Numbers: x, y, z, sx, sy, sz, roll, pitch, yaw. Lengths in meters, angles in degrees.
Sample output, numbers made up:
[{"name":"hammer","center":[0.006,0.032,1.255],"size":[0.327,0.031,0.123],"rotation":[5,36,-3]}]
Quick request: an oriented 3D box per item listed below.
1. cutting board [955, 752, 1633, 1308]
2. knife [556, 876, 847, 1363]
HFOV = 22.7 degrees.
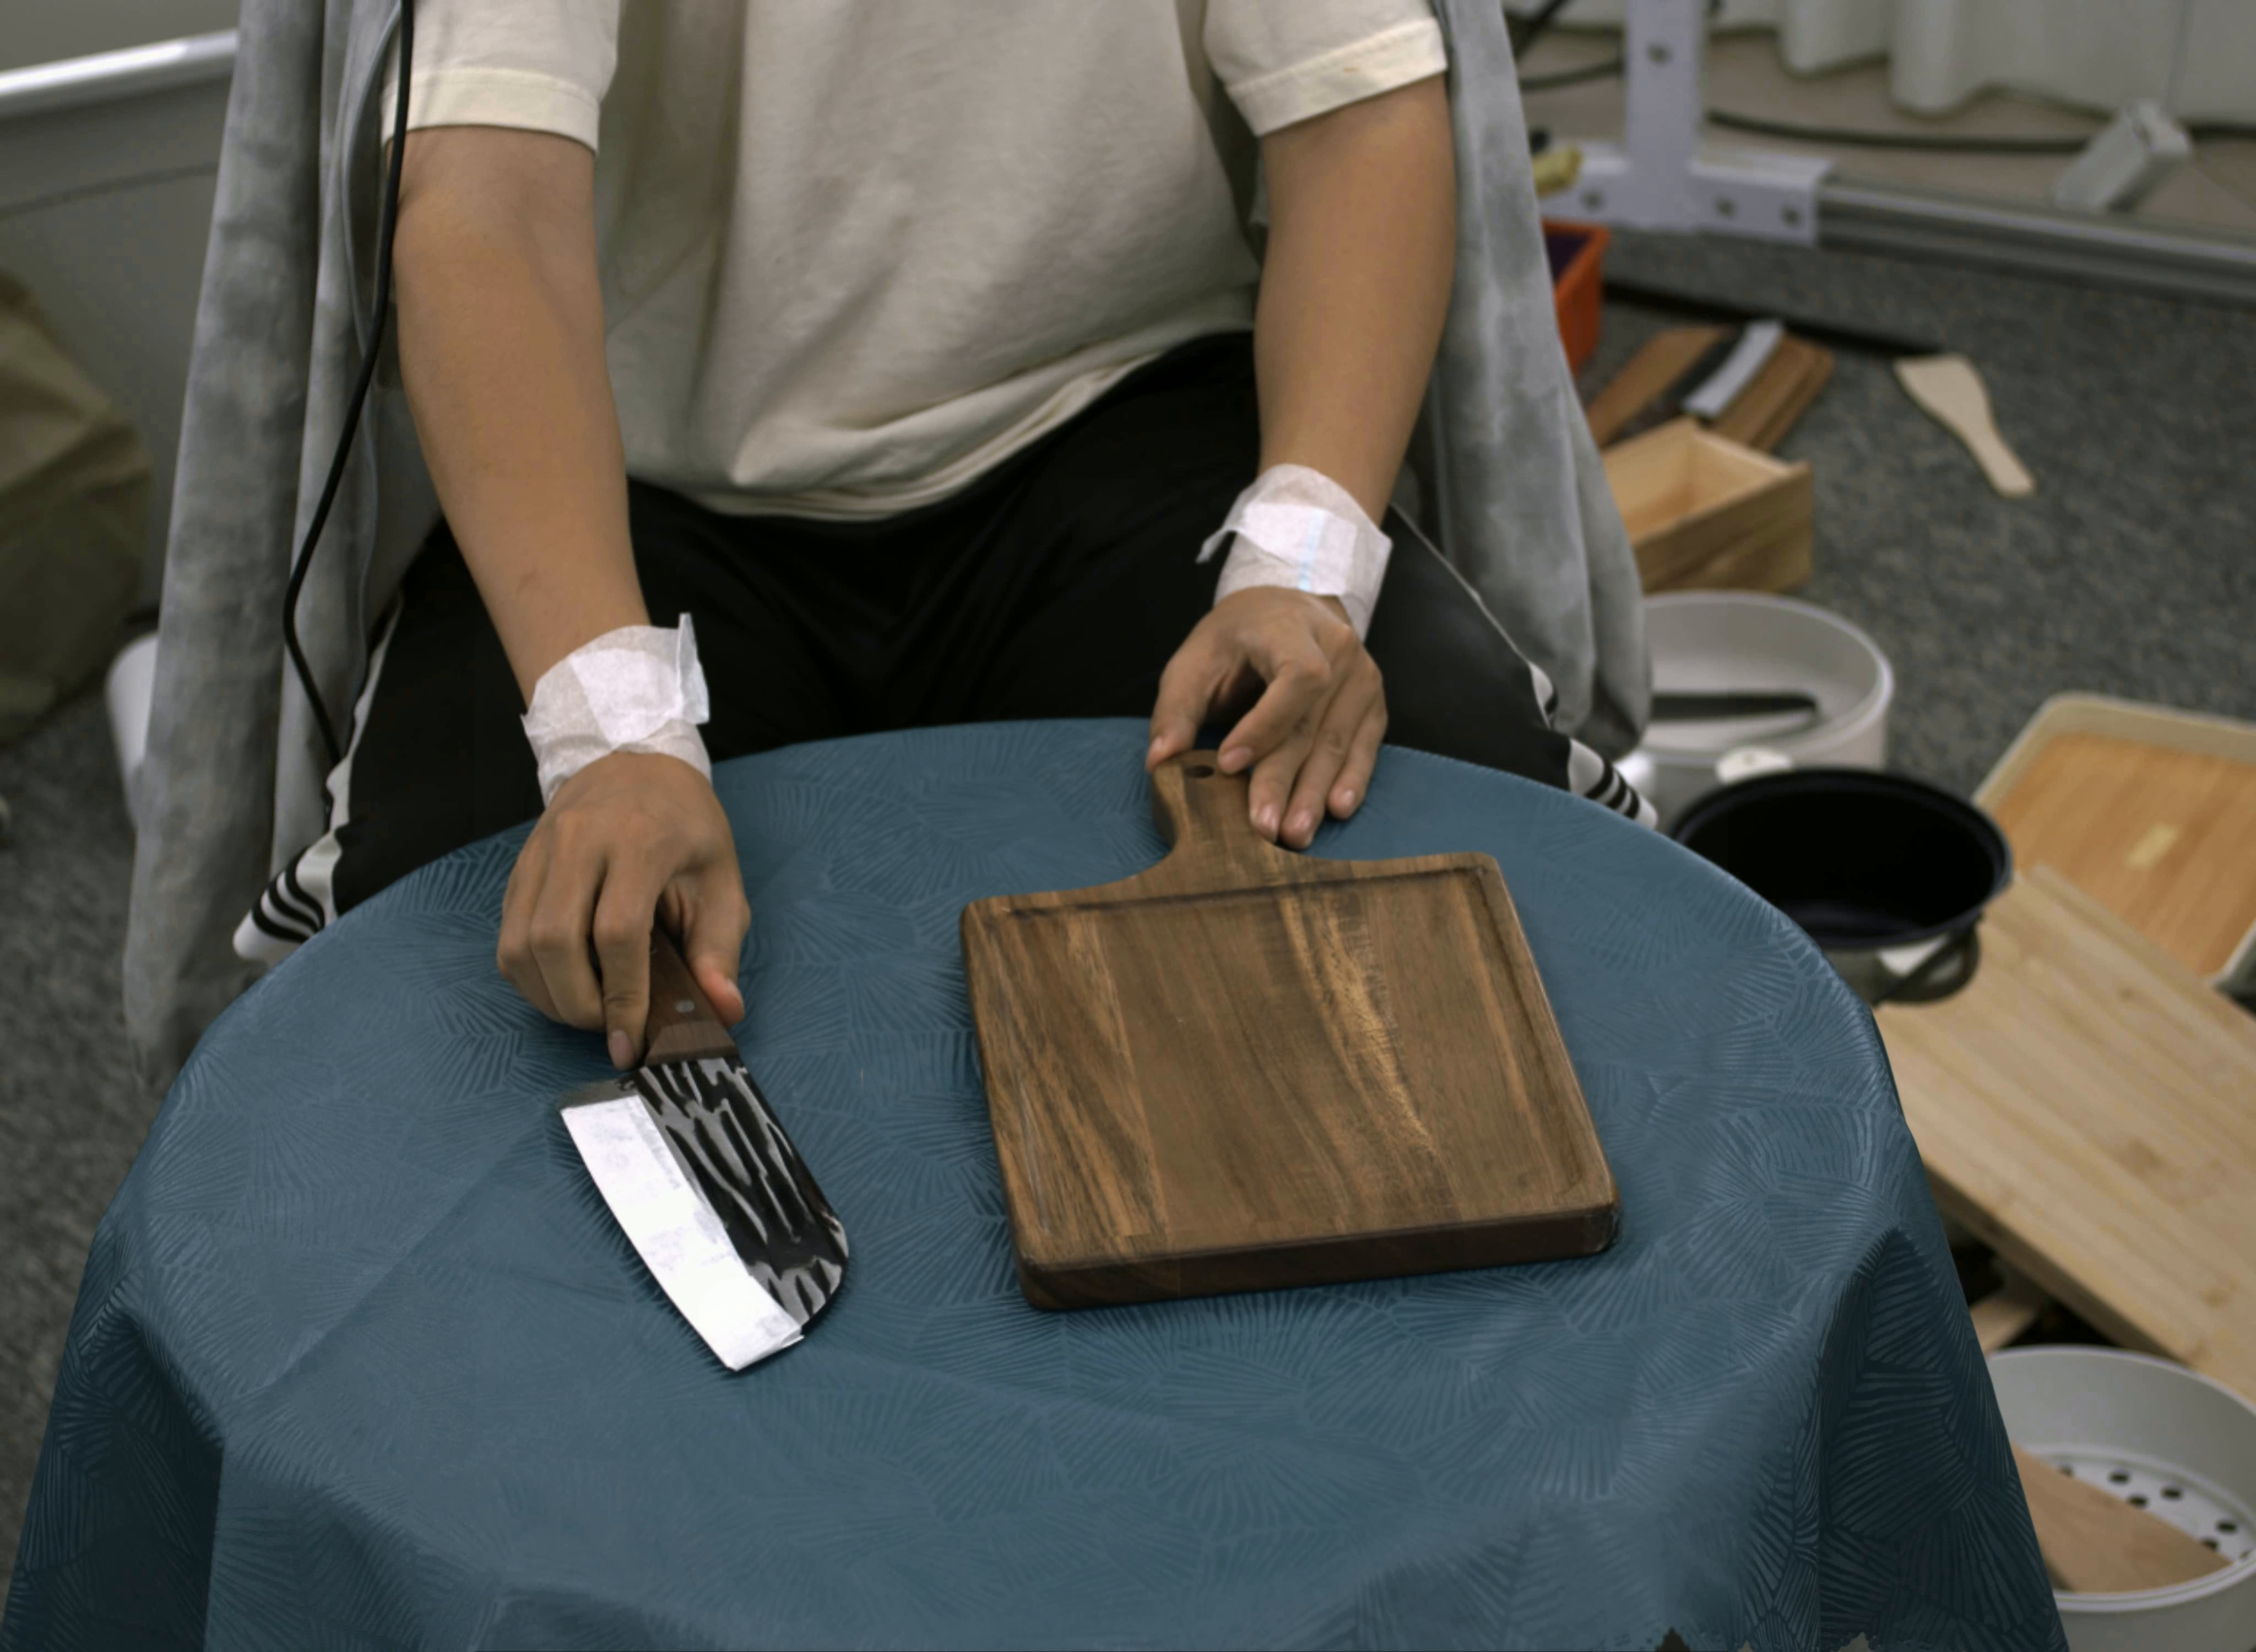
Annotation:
[{"name":"cutting board","center":[0.045,0.059,1.954],"size":[0.200,0.023,0.357],"rotation":[-5,27,-5]},{"name":"knife","center":[-0.155,0.097,1.900],"size":[0.068,0.023,0.302],"rotation":[-11,31,-16]}]
